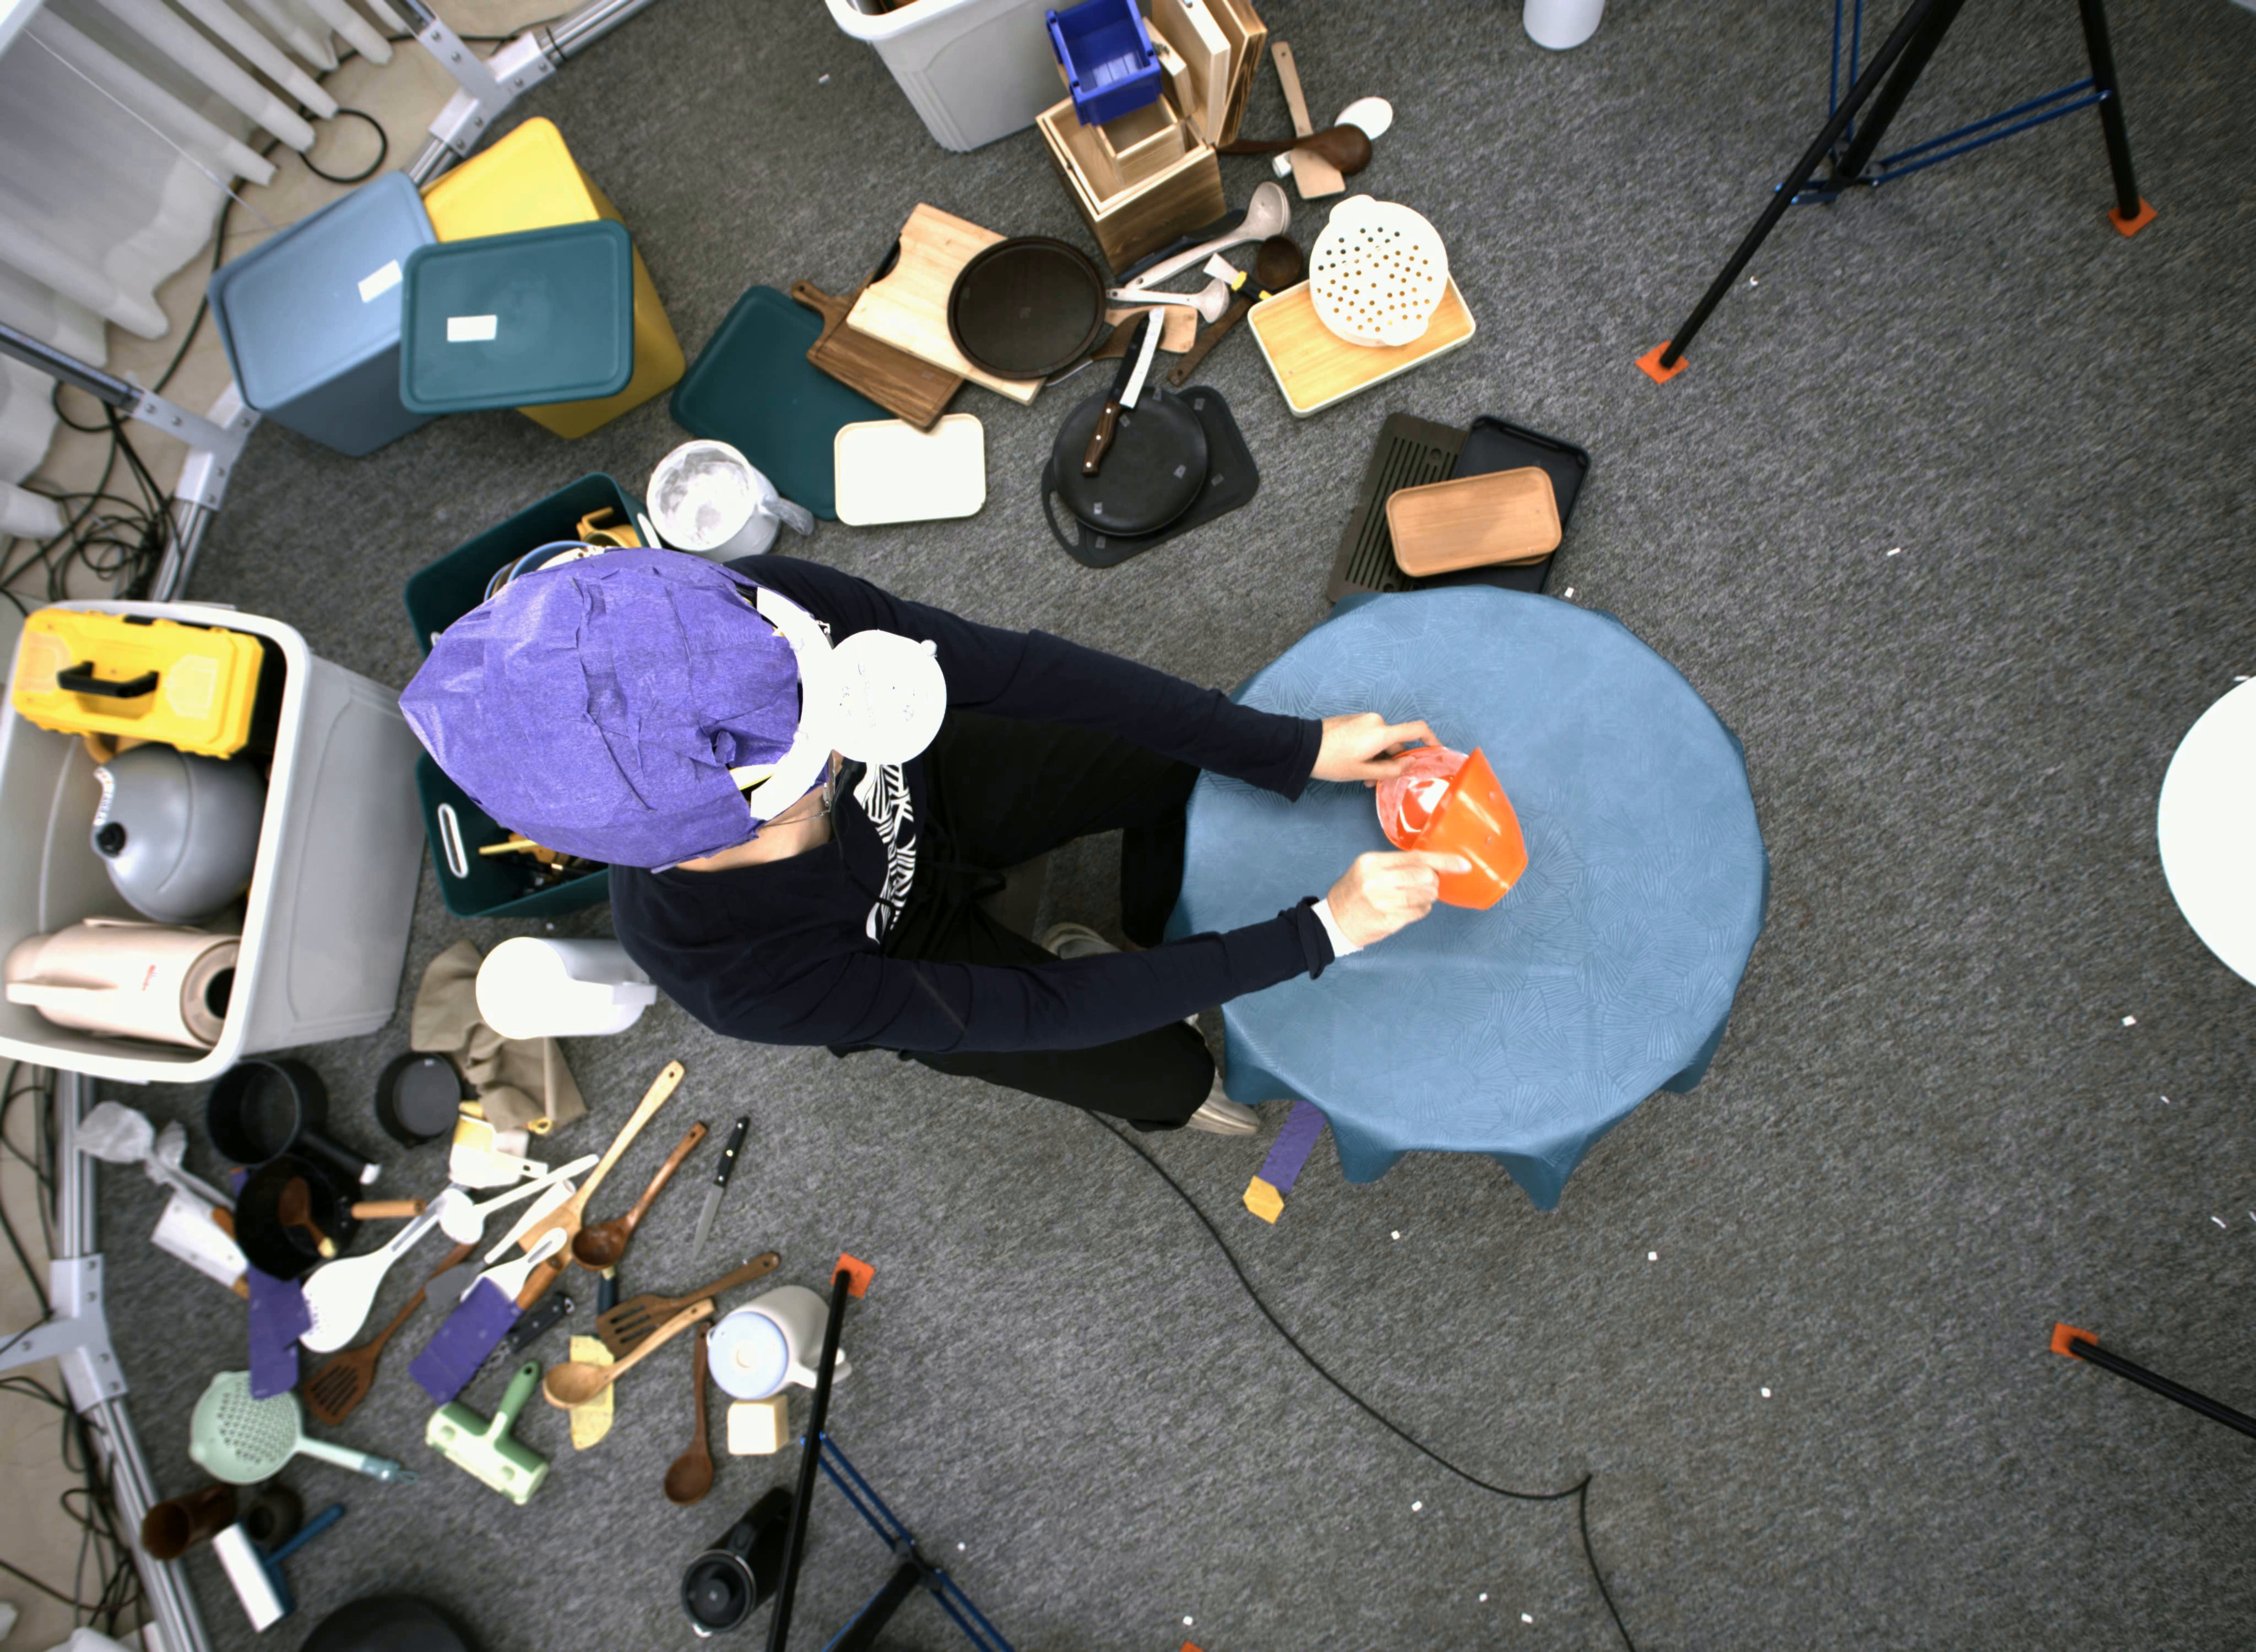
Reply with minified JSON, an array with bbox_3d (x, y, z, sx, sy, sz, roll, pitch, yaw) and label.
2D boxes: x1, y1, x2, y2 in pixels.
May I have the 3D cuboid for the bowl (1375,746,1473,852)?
[{"bbox_3d":[0.313,-0.027,1.432,0.119,0.051,0.118,-1,88,10],"label":"bowl"}]

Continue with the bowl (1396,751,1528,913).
[{"bbox_3d":[0.327,0.016,1.306,0.105,0.147,0.148,39,93,-2],"label":"bowl"}]
